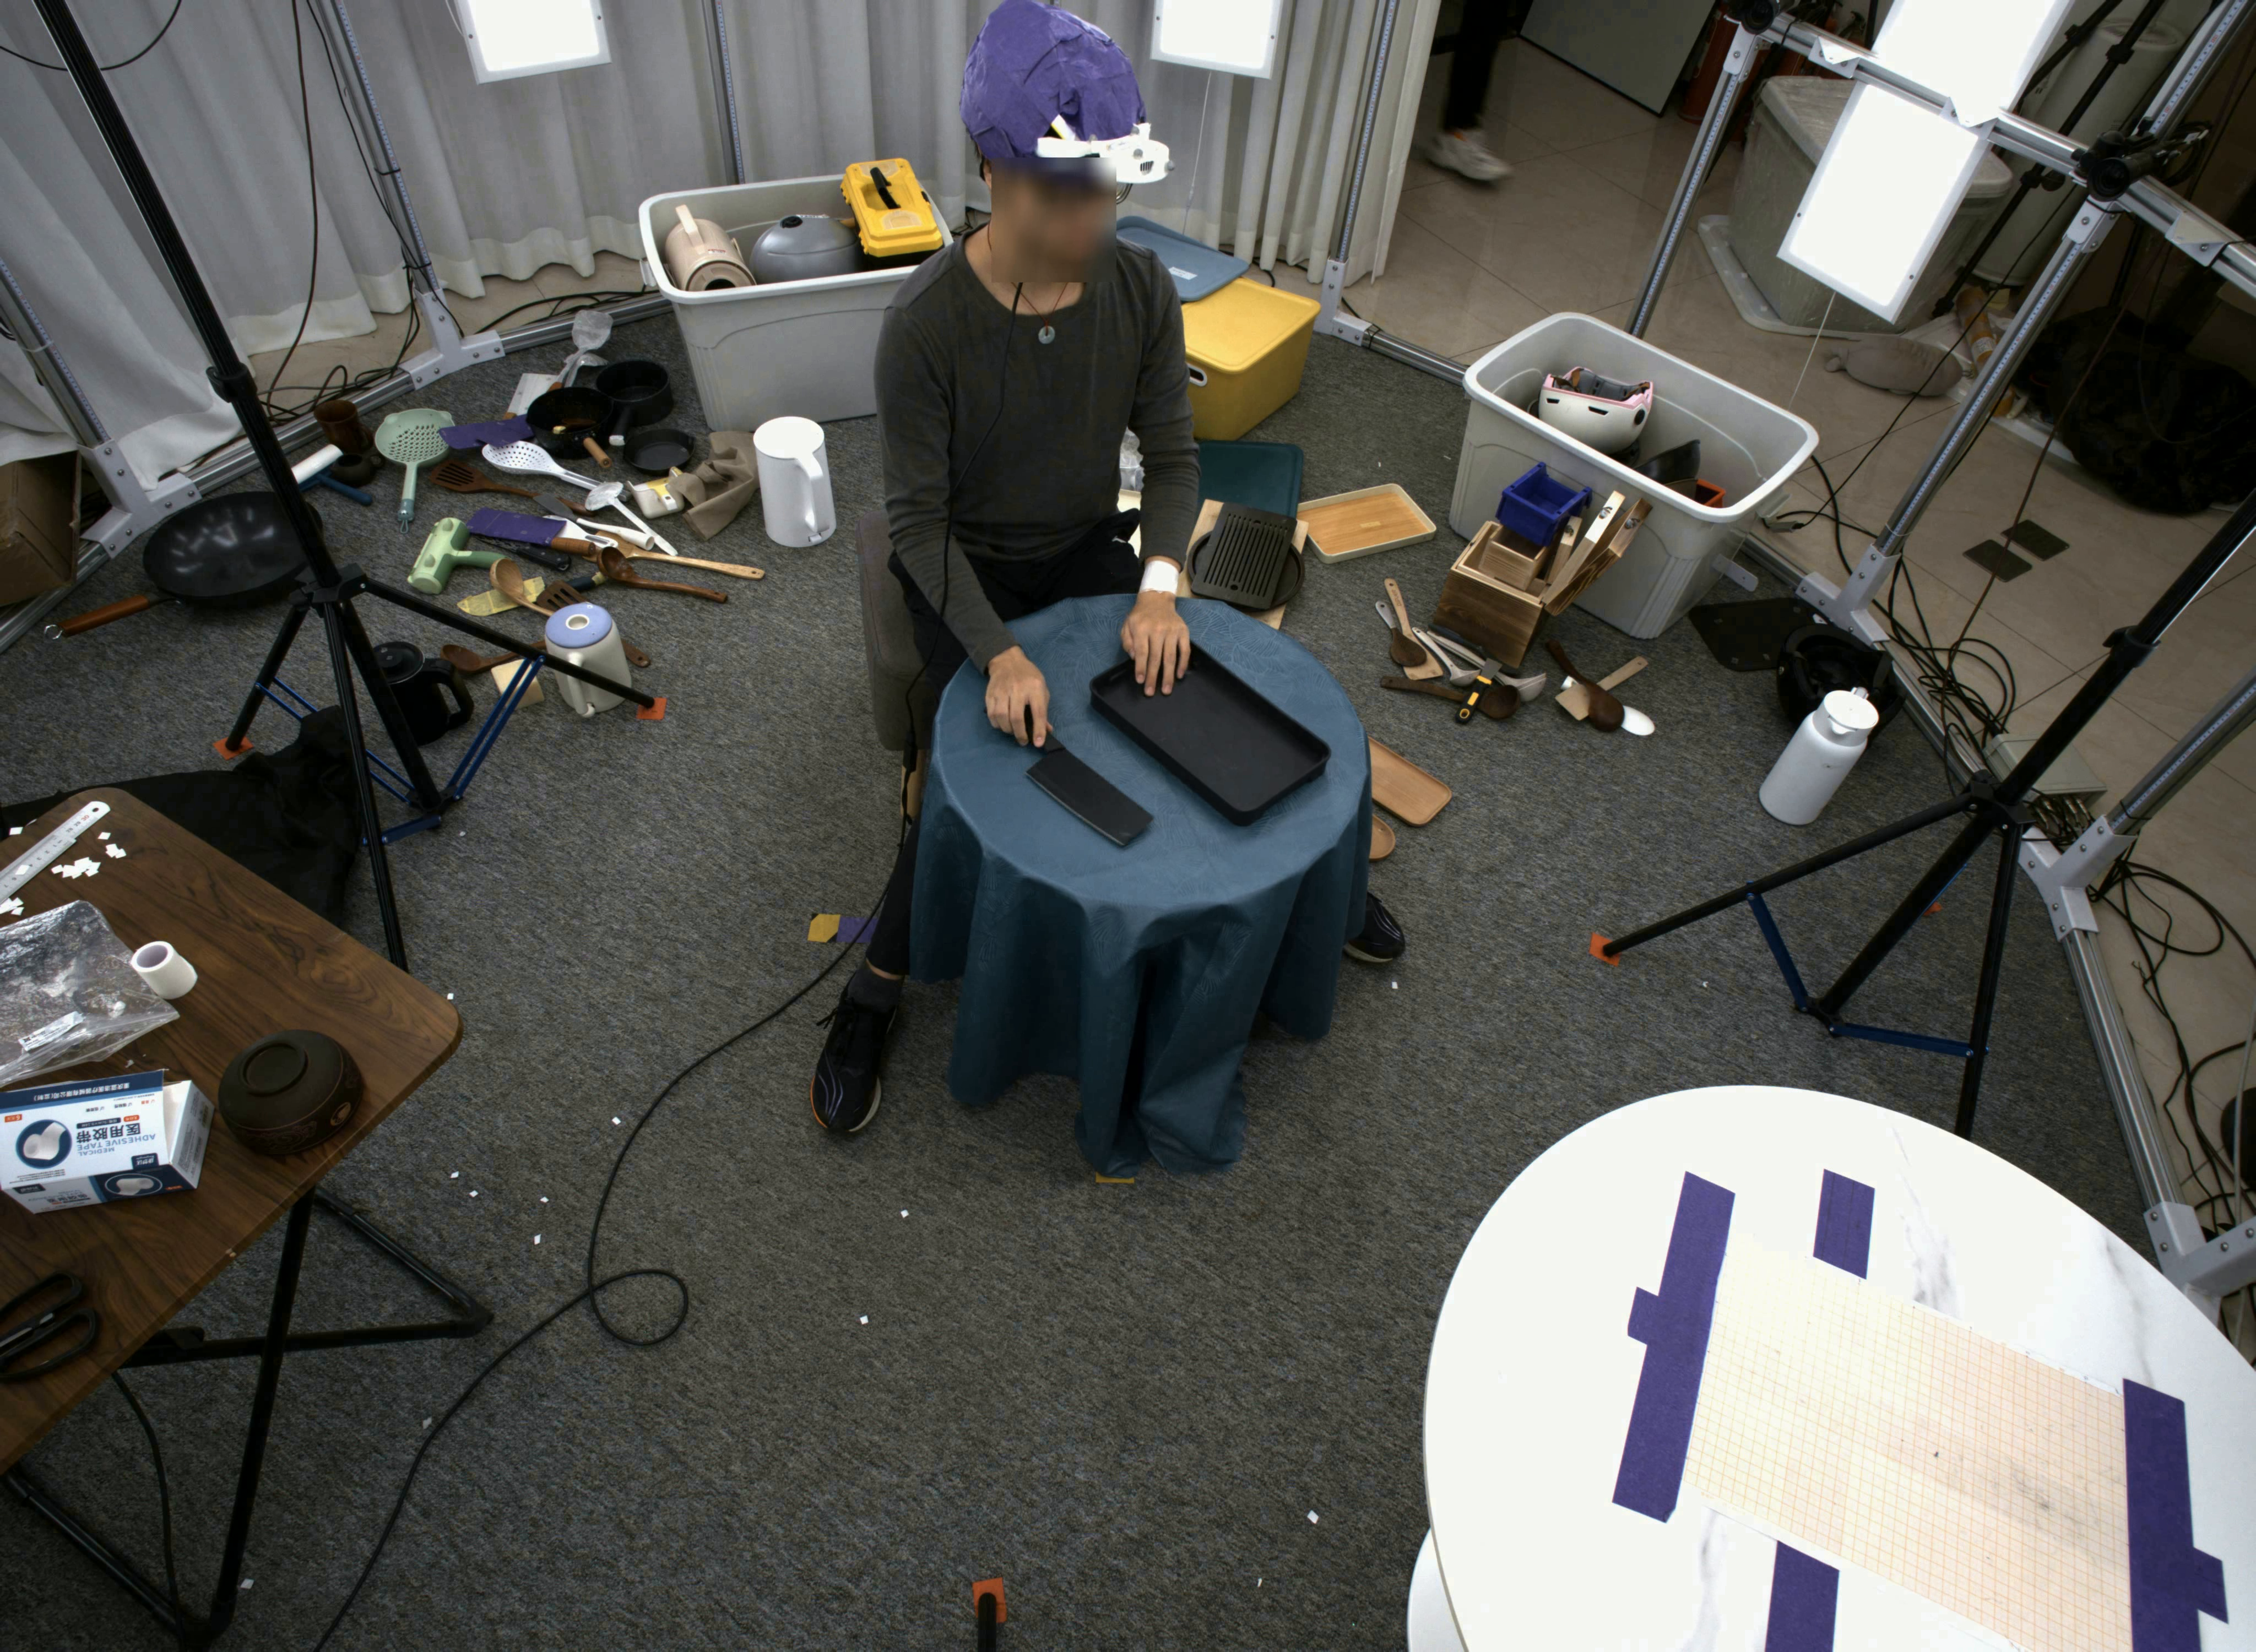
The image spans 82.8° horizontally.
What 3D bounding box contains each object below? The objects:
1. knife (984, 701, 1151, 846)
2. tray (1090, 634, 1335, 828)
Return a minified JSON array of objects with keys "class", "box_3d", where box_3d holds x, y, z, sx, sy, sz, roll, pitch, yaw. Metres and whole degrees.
[{"class":"knife","box_3d":[-0.092,-0.077,1.713,0.081,0.020,0.307,-35,59,-20]},{"class":"tray","box_3d":[0.112,-0.137,1.770,0.186,0.036,0.323,-34,59,-29]}]
